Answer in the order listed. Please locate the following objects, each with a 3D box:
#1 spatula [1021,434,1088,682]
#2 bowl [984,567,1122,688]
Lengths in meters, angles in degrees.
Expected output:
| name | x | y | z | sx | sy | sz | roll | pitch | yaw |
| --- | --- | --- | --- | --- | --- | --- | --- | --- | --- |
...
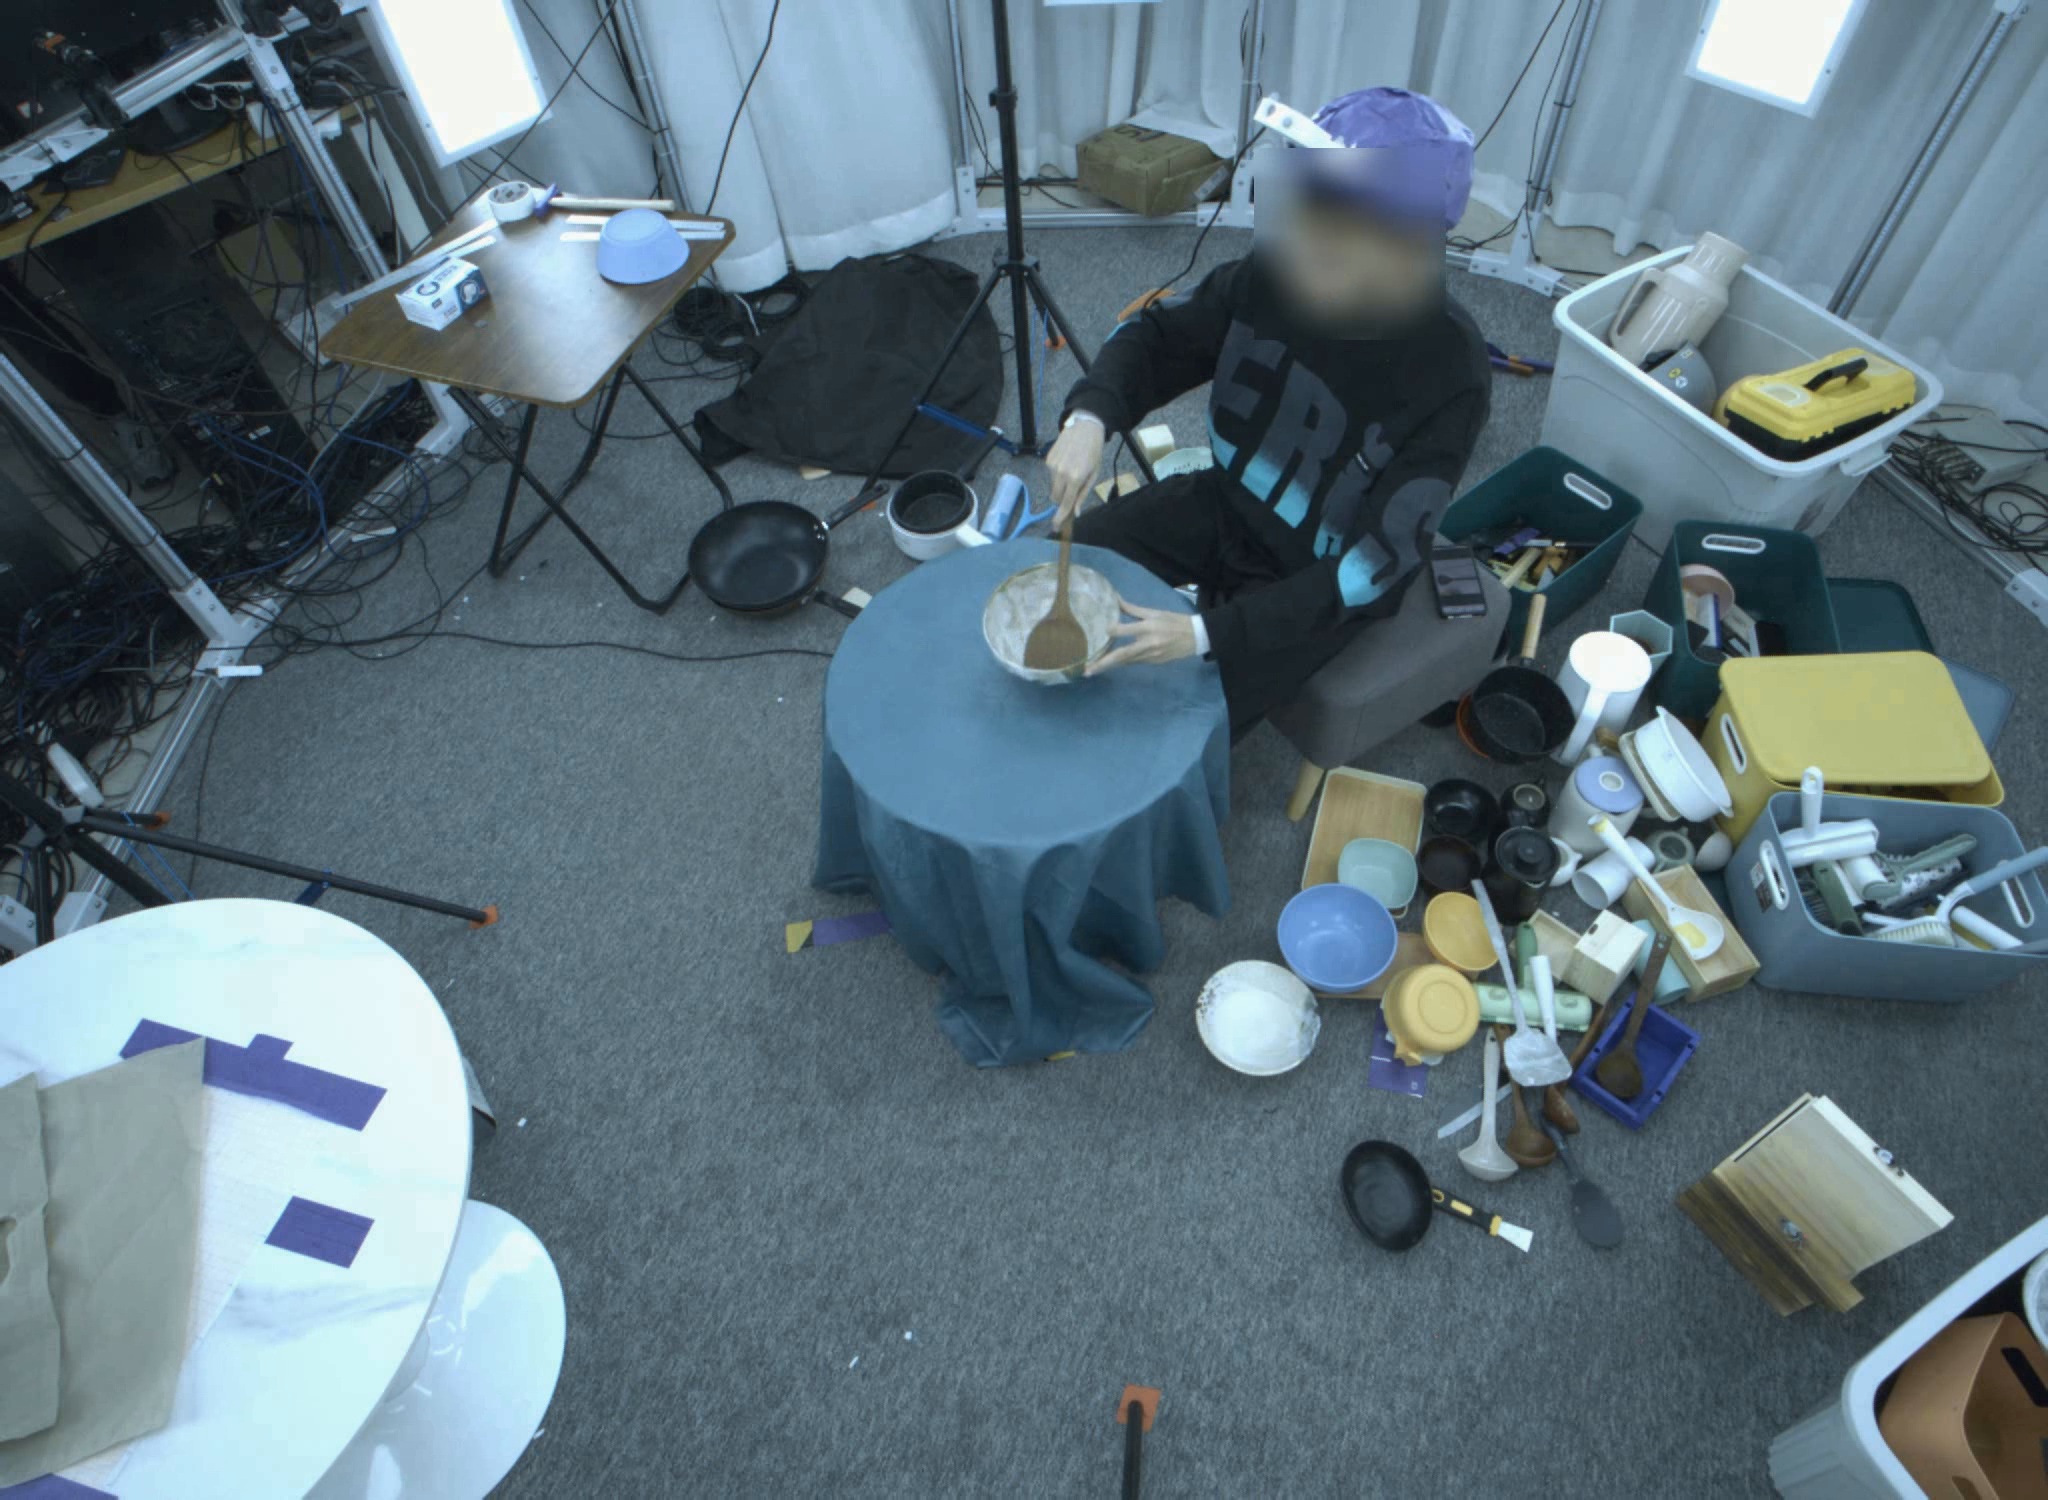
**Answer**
| name | x | y | z | sx | sy | sz | roll | pitch | yaw |
| --- | --- | --- | --- | --- | --- | --- | --- | --- | --- |
| spatula | 0.060 | -0.287 | 1.803 | 0.095 | 0.016 | 0.385 | 4 | 84 | 11 |
| bowl | 0.050 | -0.169 | 1.830 | 0.214 | 0.096 | 0.212 | -3 | 58 | 6 |
